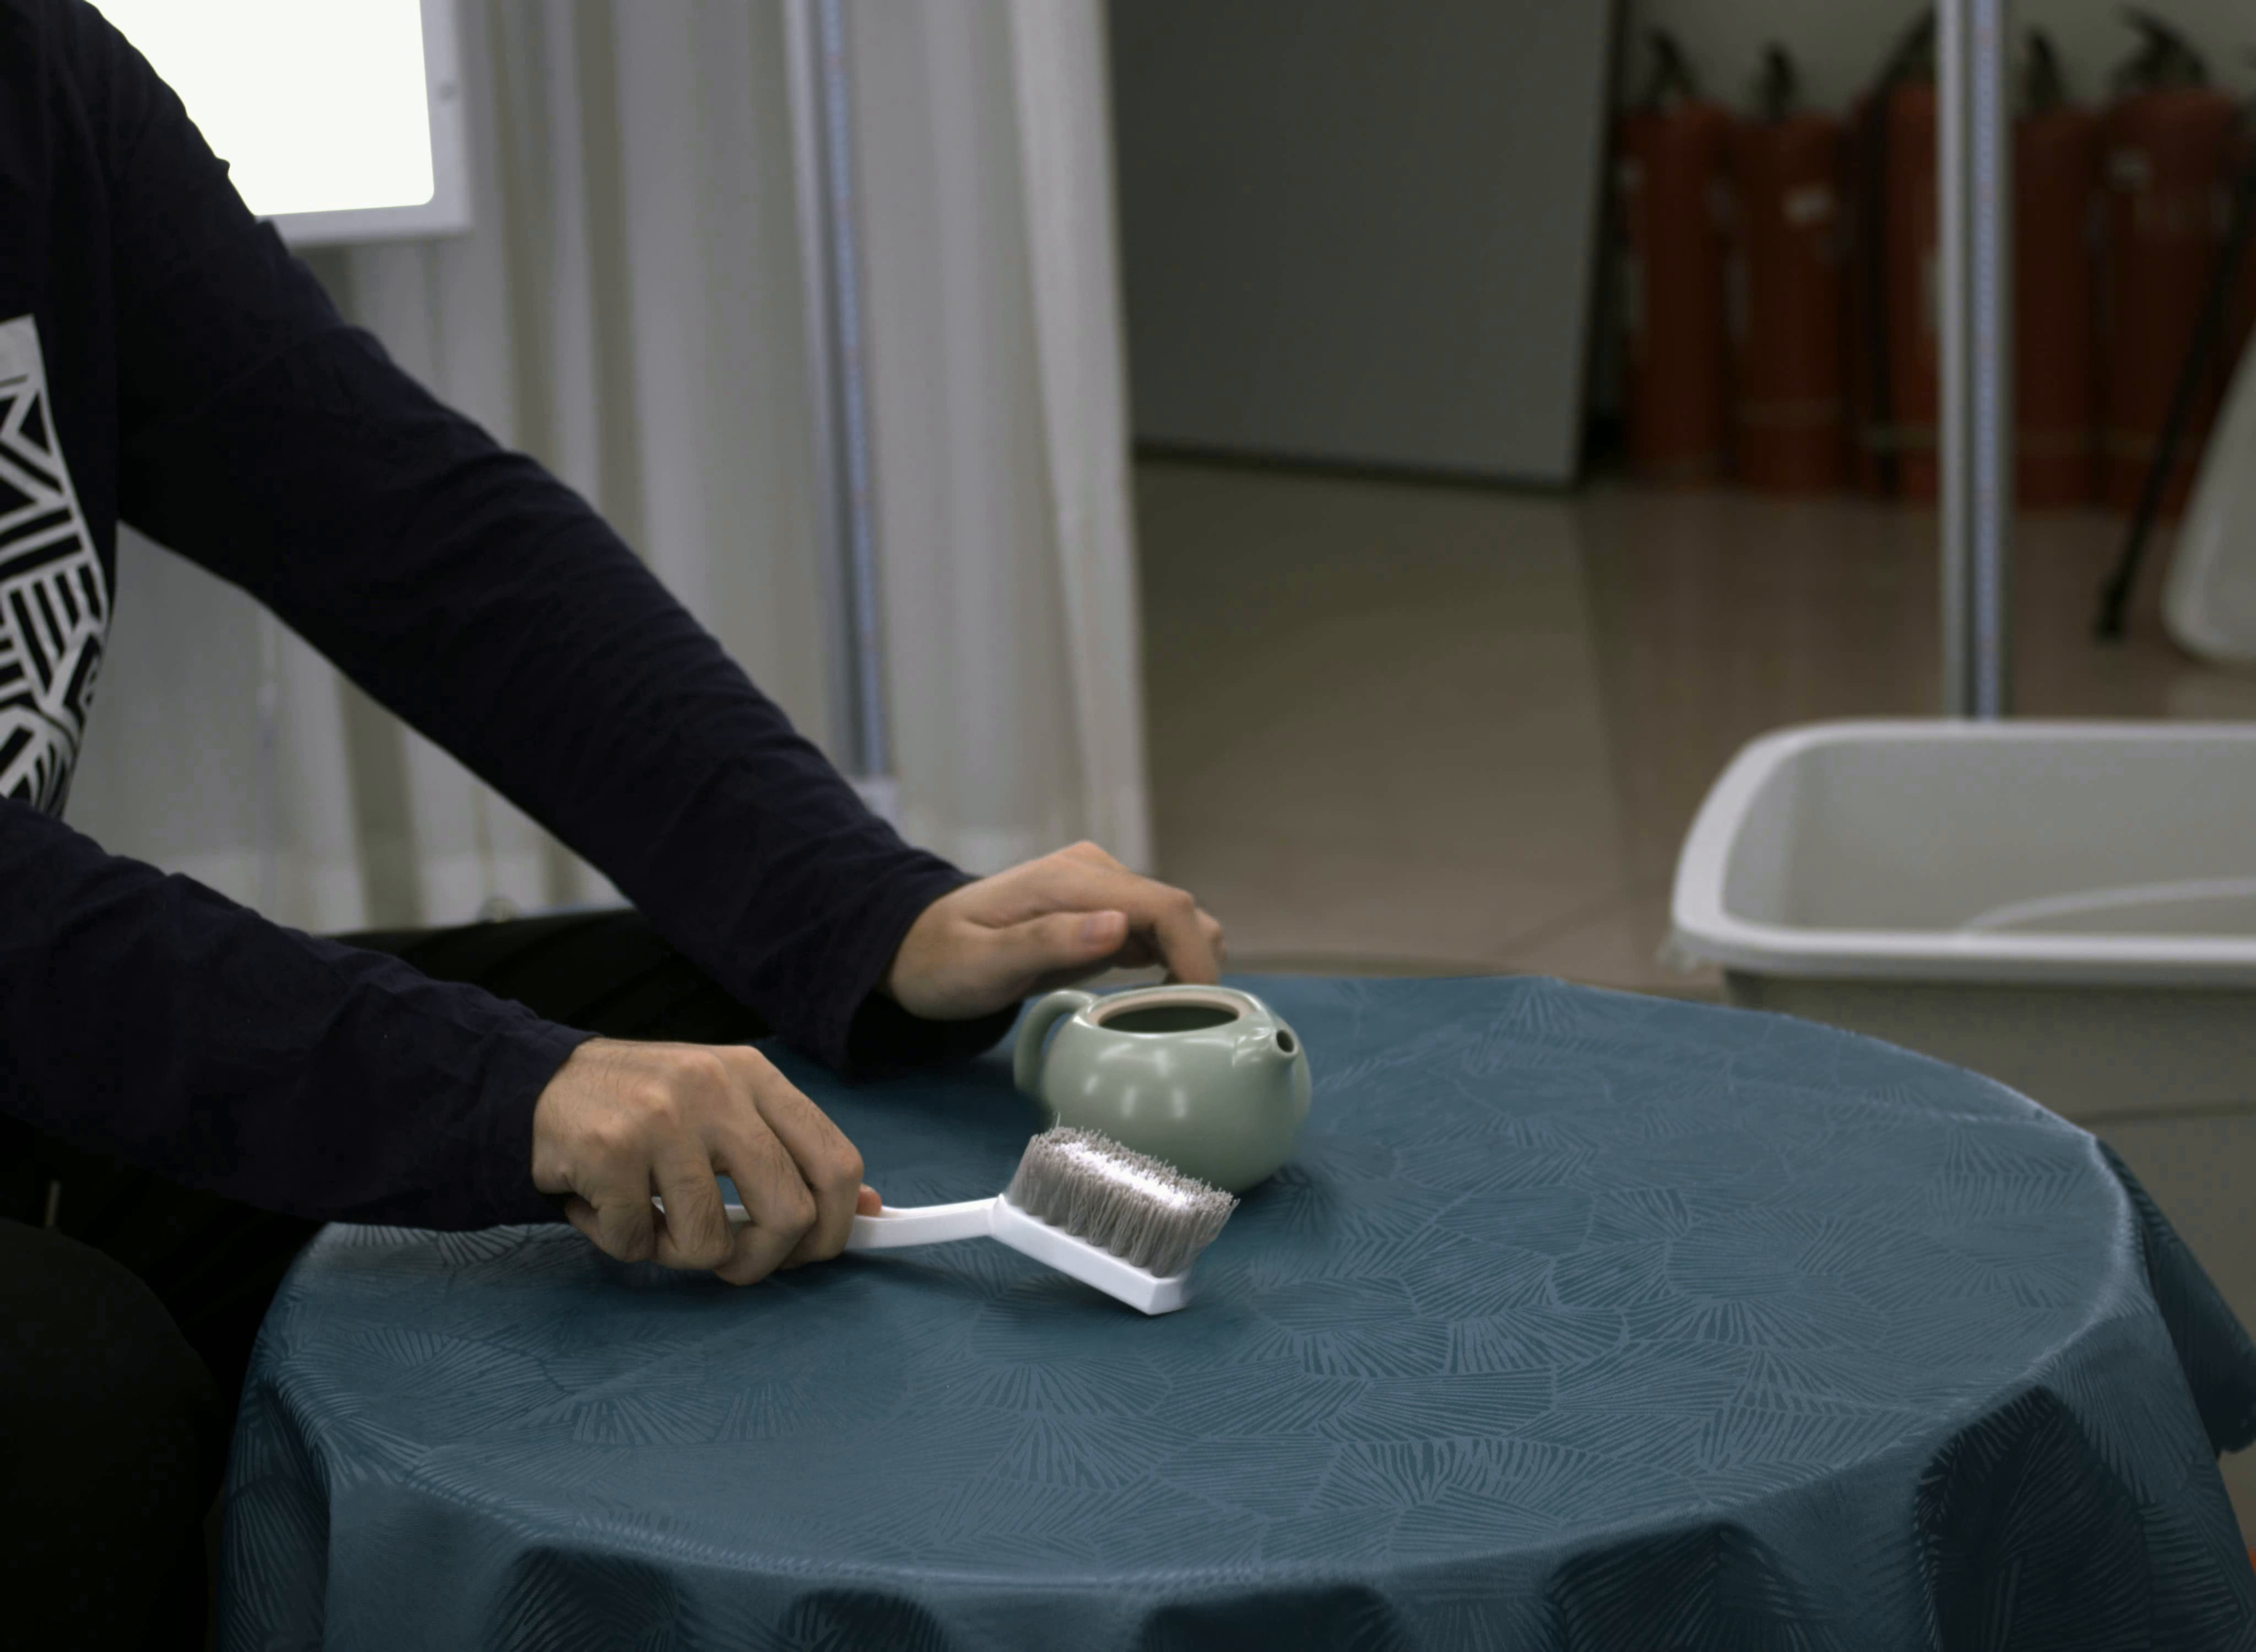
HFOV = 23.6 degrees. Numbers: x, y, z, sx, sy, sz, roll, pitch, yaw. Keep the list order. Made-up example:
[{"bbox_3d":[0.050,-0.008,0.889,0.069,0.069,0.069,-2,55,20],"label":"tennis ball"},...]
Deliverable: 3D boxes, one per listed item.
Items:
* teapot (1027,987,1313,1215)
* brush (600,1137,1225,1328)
[{"bbox_3d":[0.010,0.090,1.780,0.089,0.061,0.130,-21,21,-36],"label":"teapot"},{"bbox_3d":[-0.074,0.117,1.715,0.245,0.051,0.034,6,21,36],"label":"brush"}]
